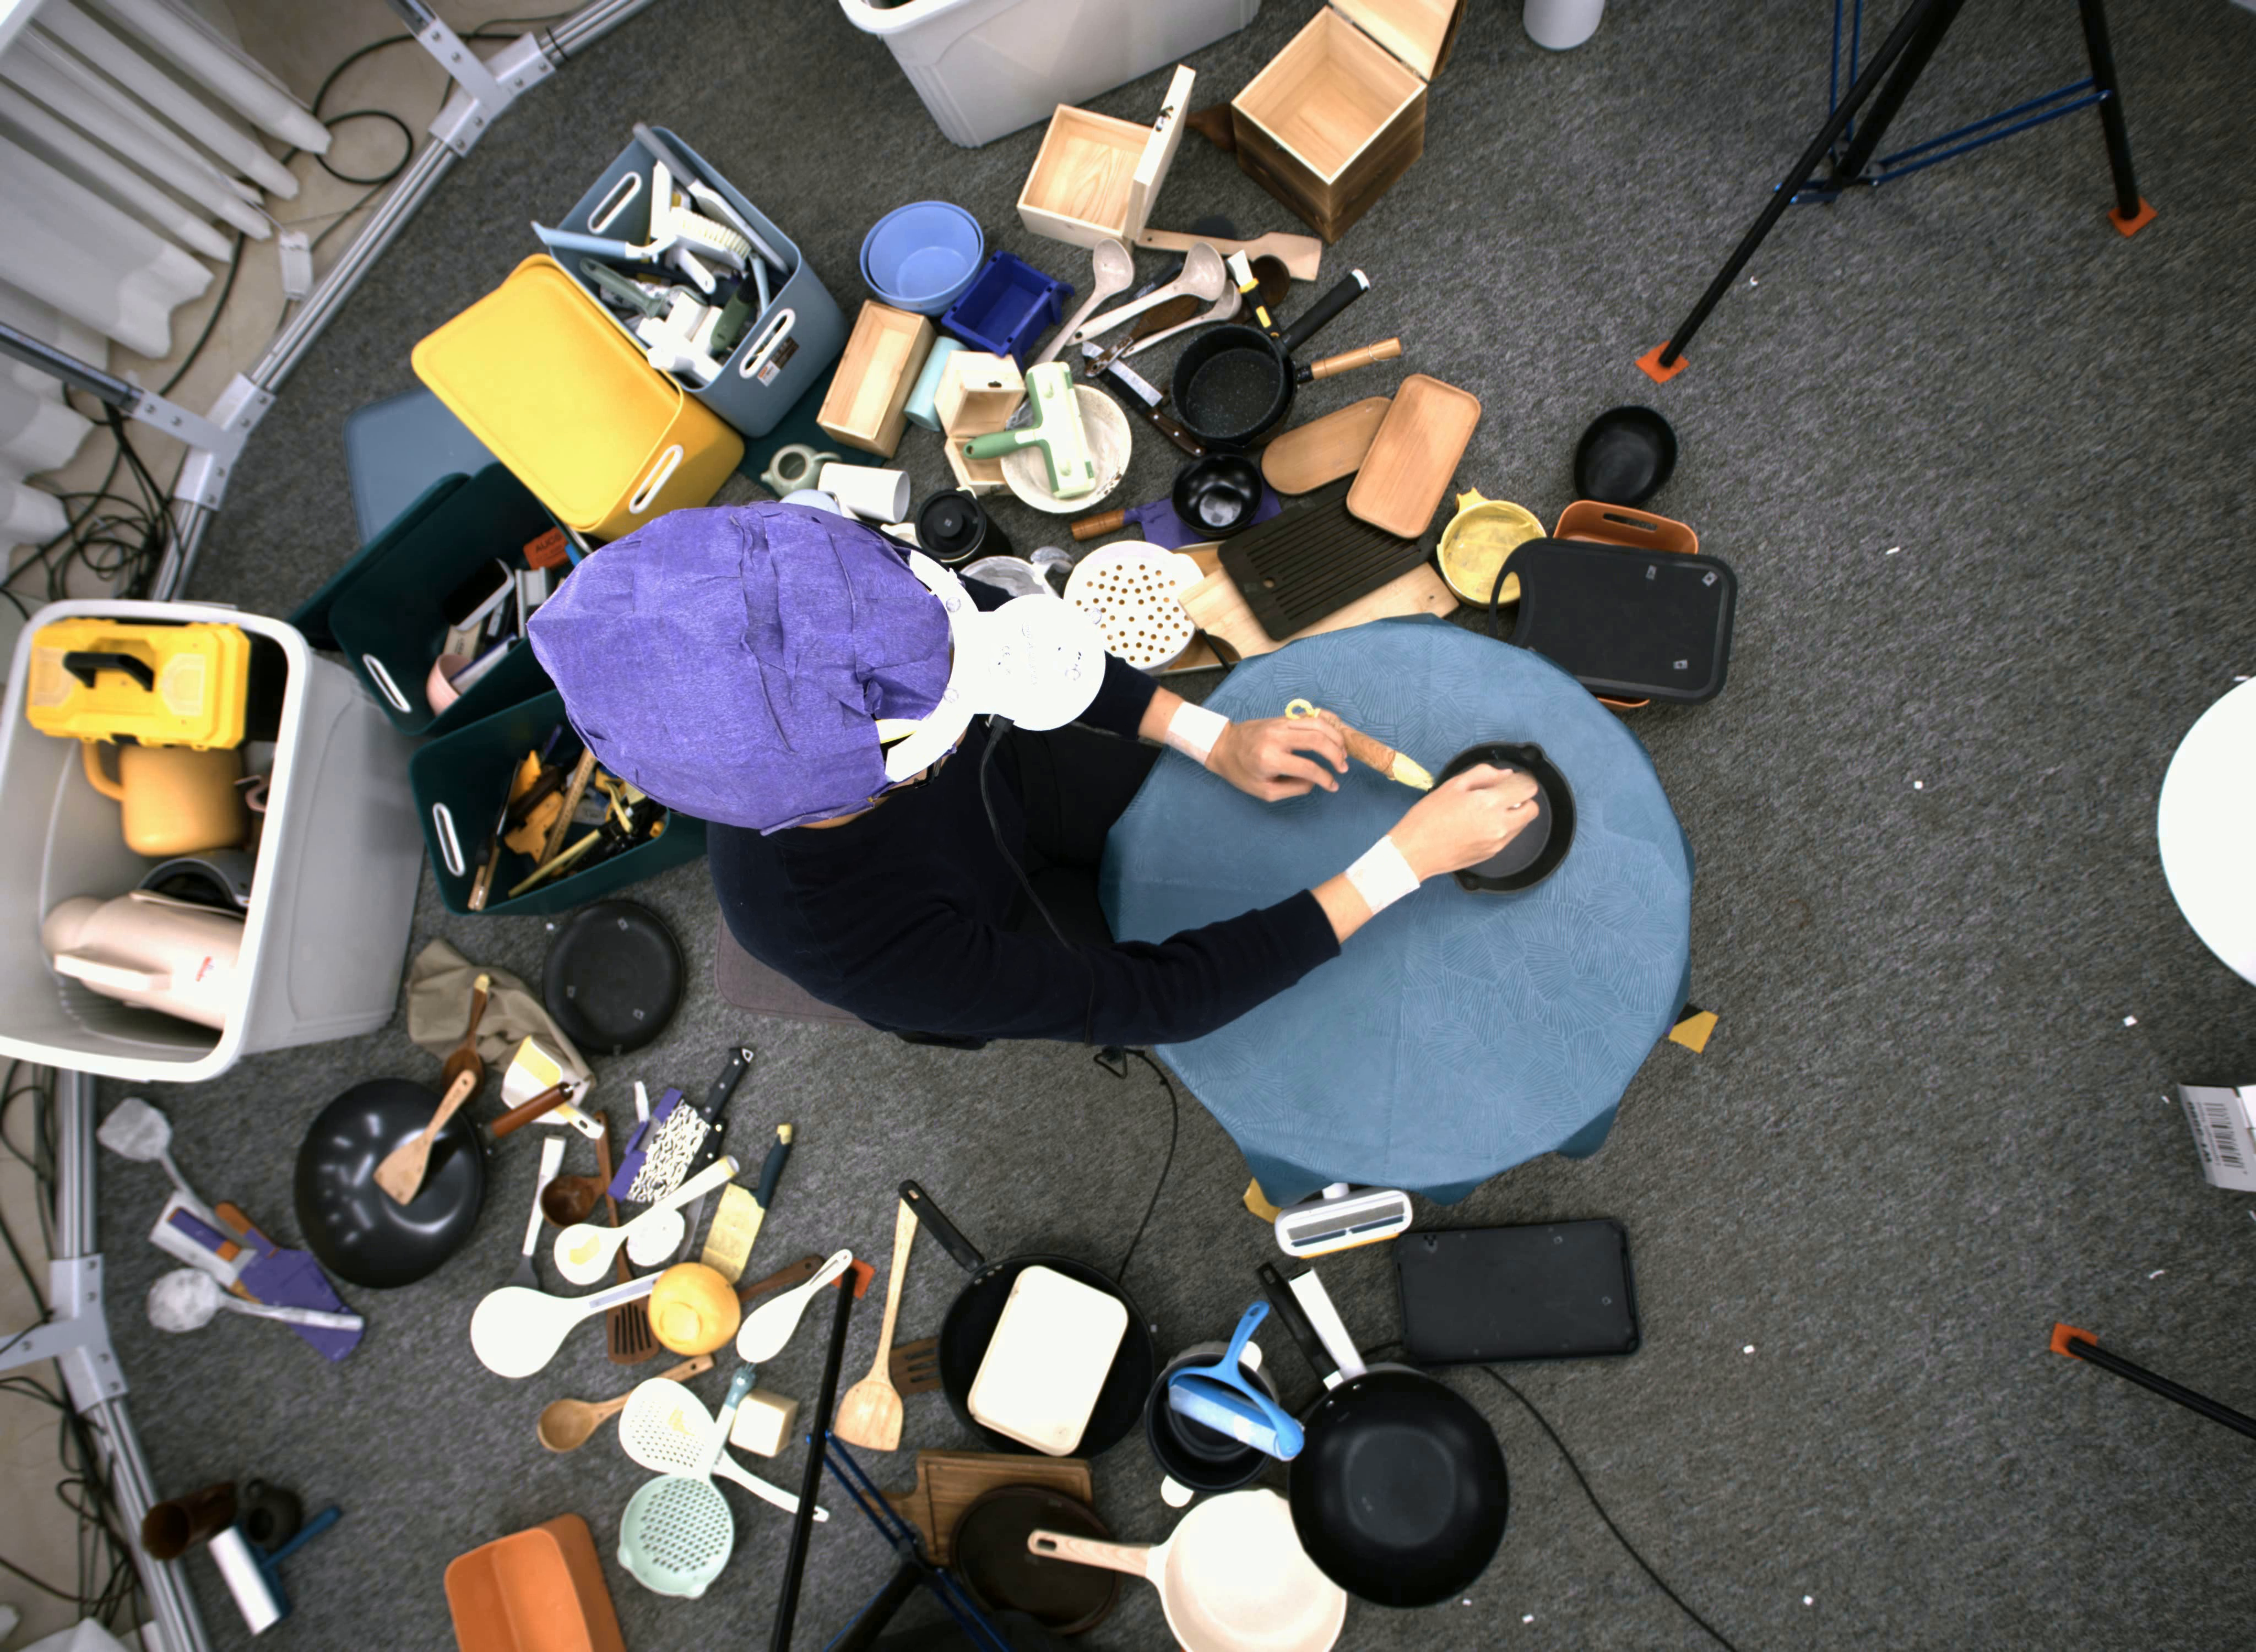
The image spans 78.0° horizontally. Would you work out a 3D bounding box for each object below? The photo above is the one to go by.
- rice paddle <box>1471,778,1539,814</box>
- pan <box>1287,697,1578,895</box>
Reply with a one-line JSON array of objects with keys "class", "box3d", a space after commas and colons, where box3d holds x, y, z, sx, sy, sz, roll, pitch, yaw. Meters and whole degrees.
[{"class": "rice paddle", "box3d": [0.364, -0.036, 1.329, 0.069, 0.203, 0.029, -17, 90, 17]}, {"class": "pan", "box3d": [0.307, -0.051, 1.405, 0.324, 0.049, 0.169, 29, 93, -2]}]
